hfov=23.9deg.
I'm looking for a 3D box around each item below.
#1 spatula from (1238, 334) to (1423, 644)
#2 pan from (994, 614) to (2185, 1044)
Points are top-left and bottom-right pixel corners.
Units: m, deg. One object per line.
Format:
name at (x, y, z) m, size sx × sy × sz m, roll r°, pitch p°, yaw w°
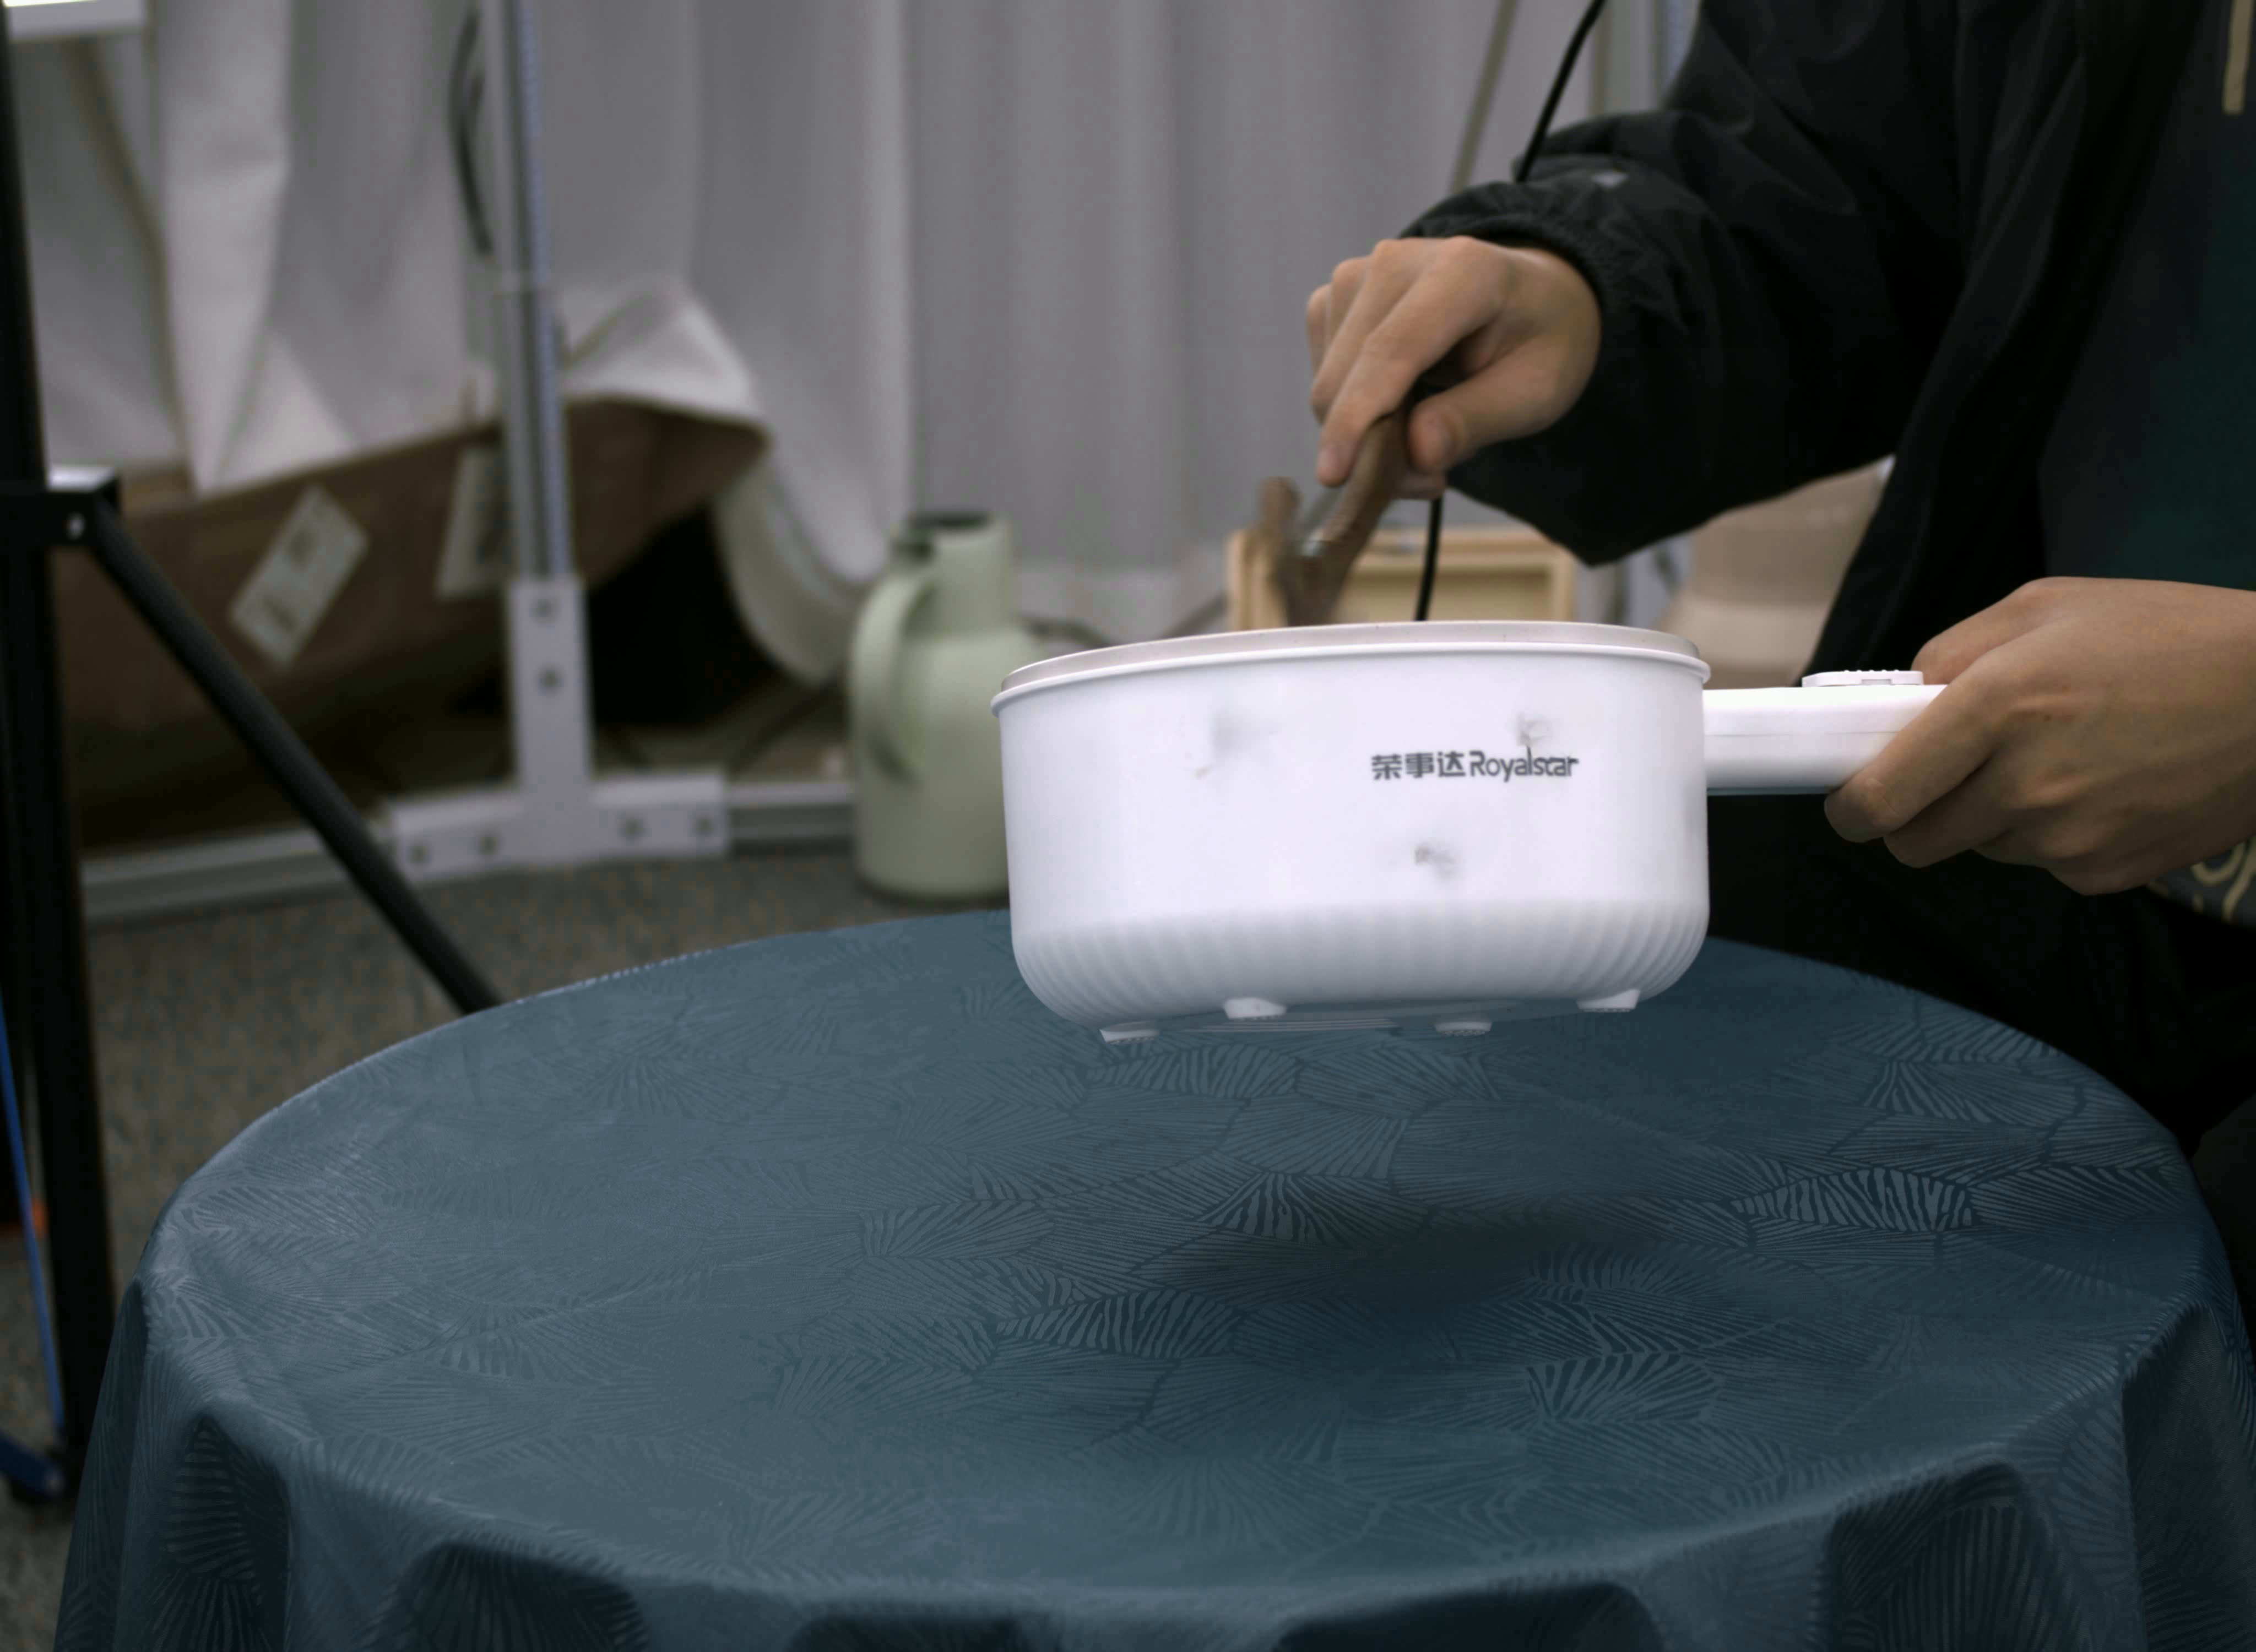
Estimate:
spatula at (0.066, -0.099, 1.634) m, size 0.016 × 0.096 × 0.384 m, roll -10°, pitch 15°, yaw 12°
pan at (0.136, 0.008, 1.498) m, size 0.348 × 0.103 × 0.203 m, roll 1°, pitch -7°, yaw -17°
